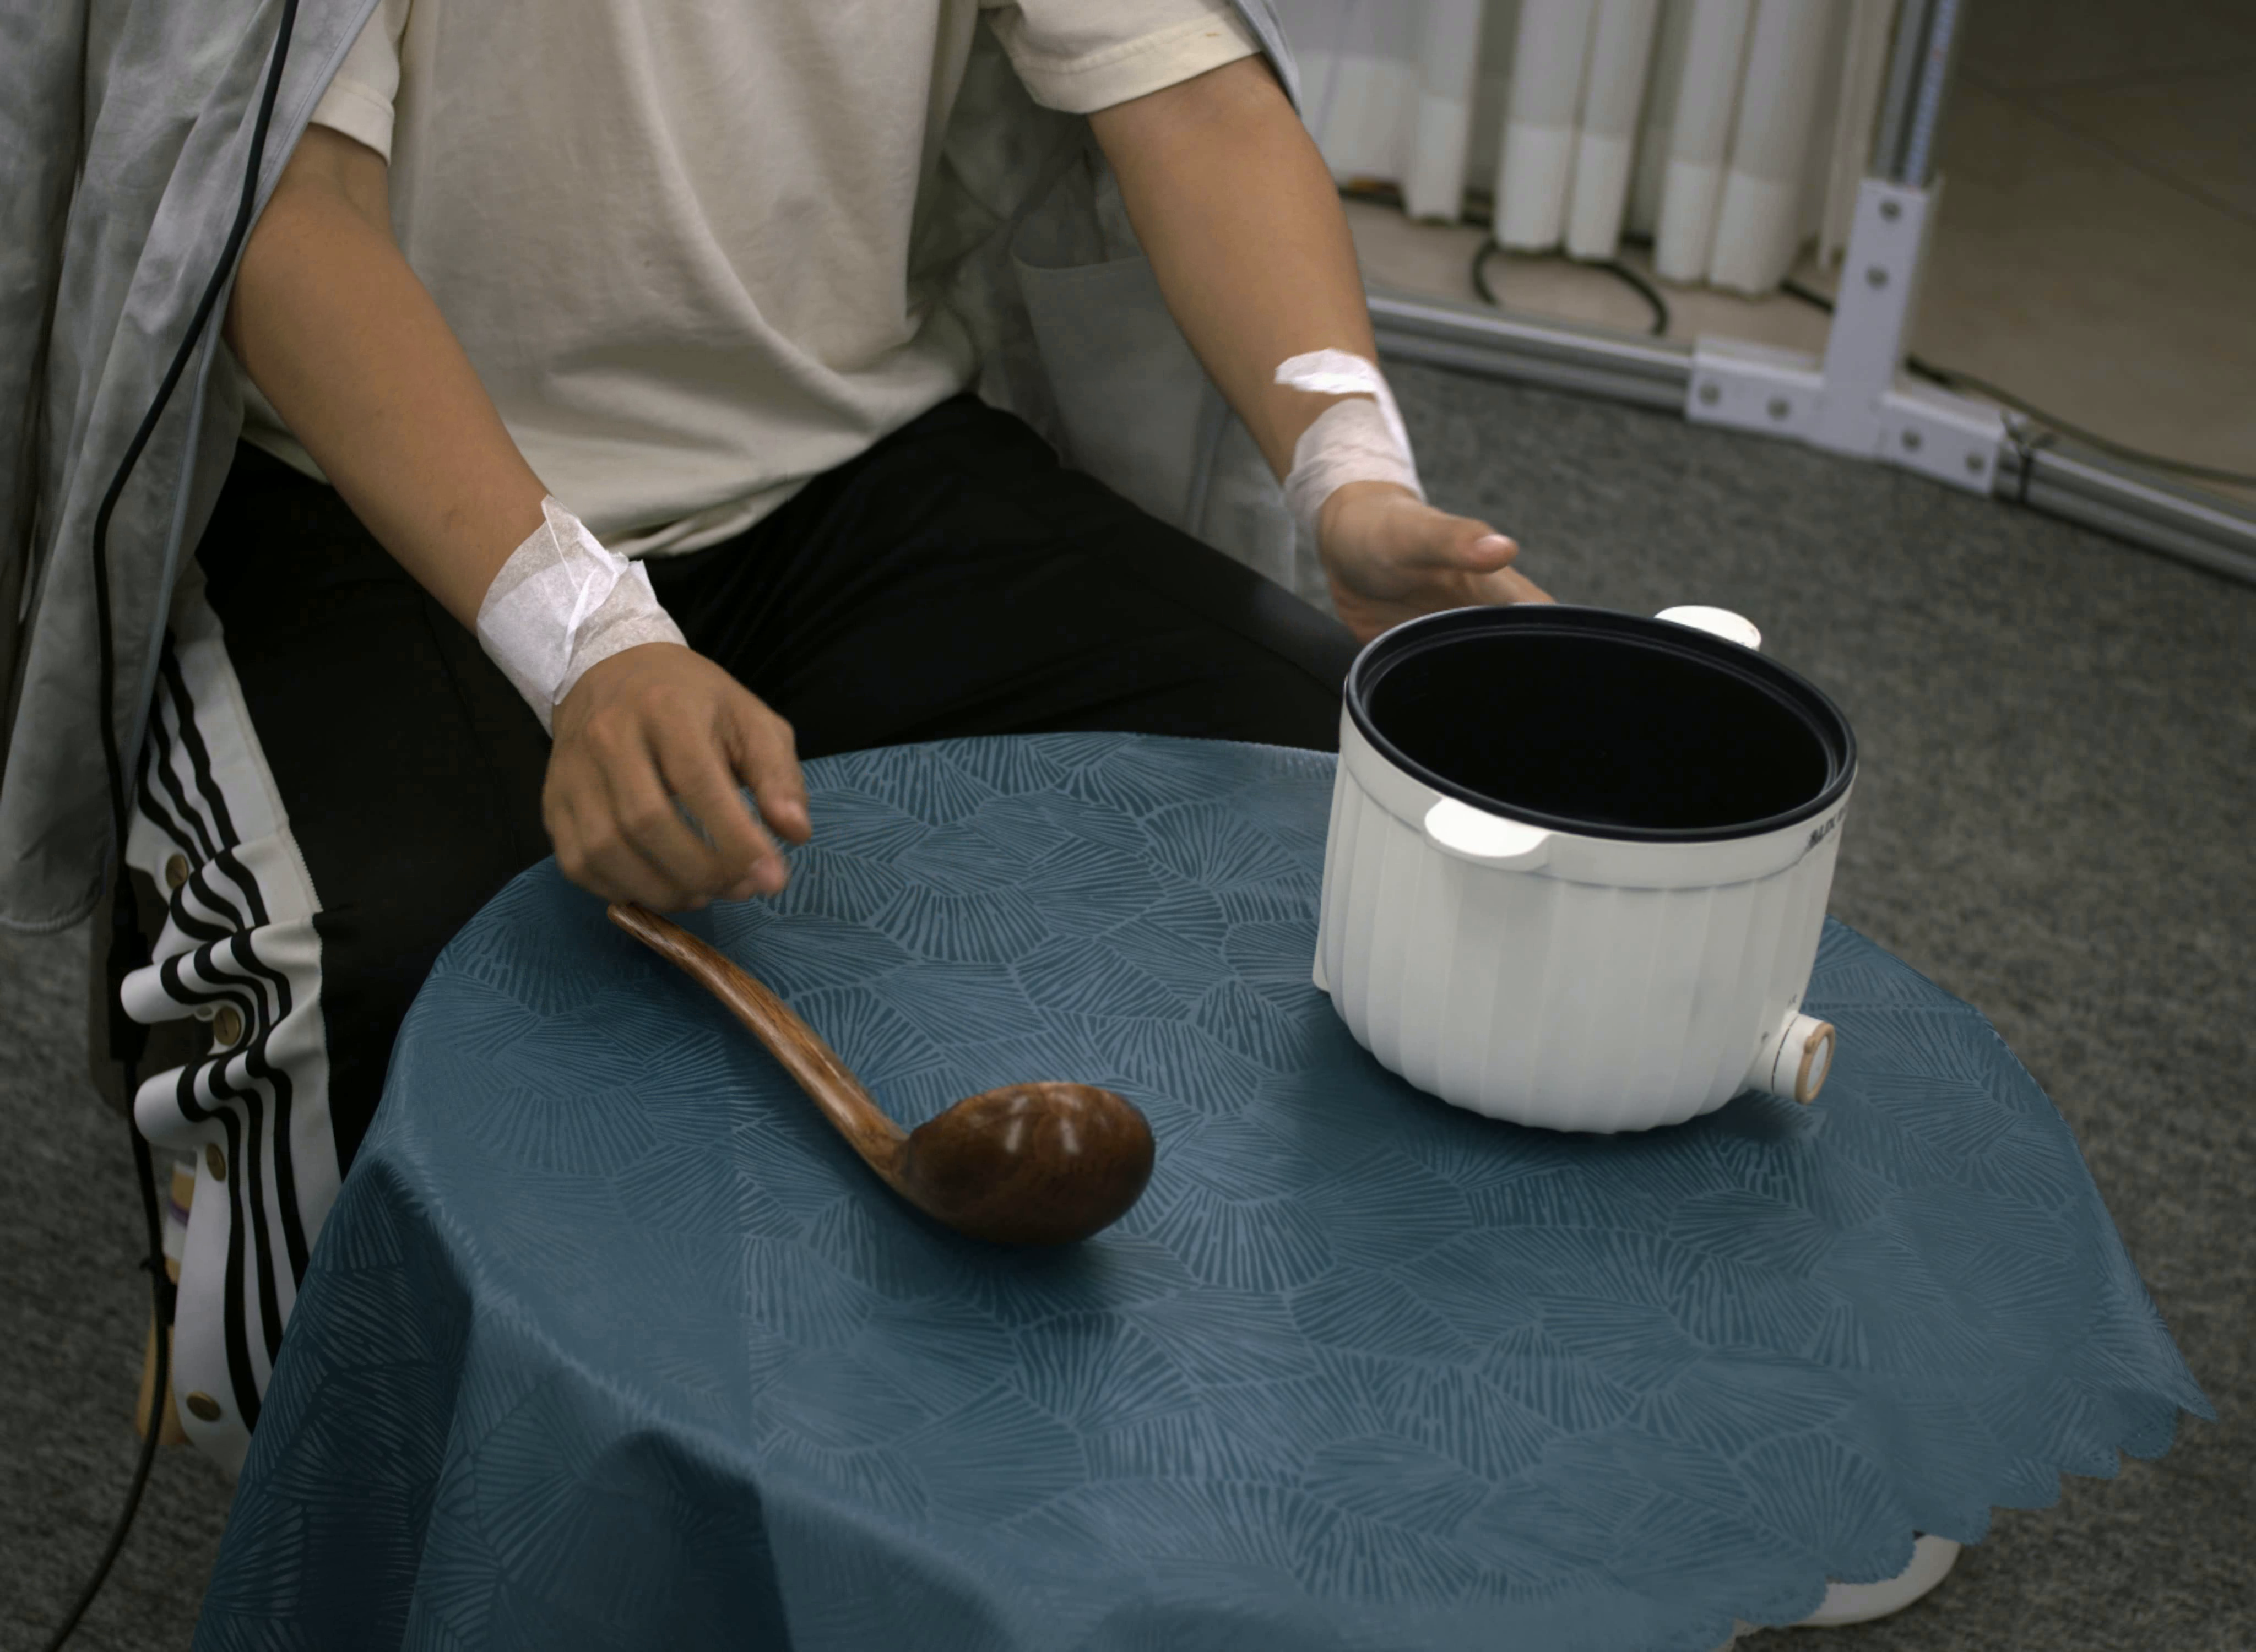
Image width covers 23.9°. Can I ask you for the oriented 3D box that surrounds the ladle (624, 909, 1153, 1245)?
[{"bbox_3d":[-0.088,0.066,1.822,0.081,0.076,0.276,39,0,-41],"label":"ladle"}]

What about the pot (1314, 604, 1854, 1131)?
[{"bbox_3d":[0.164,0.020,1.892,0.191,0.142,0.240,15,29,23],"label":"pot"}]
